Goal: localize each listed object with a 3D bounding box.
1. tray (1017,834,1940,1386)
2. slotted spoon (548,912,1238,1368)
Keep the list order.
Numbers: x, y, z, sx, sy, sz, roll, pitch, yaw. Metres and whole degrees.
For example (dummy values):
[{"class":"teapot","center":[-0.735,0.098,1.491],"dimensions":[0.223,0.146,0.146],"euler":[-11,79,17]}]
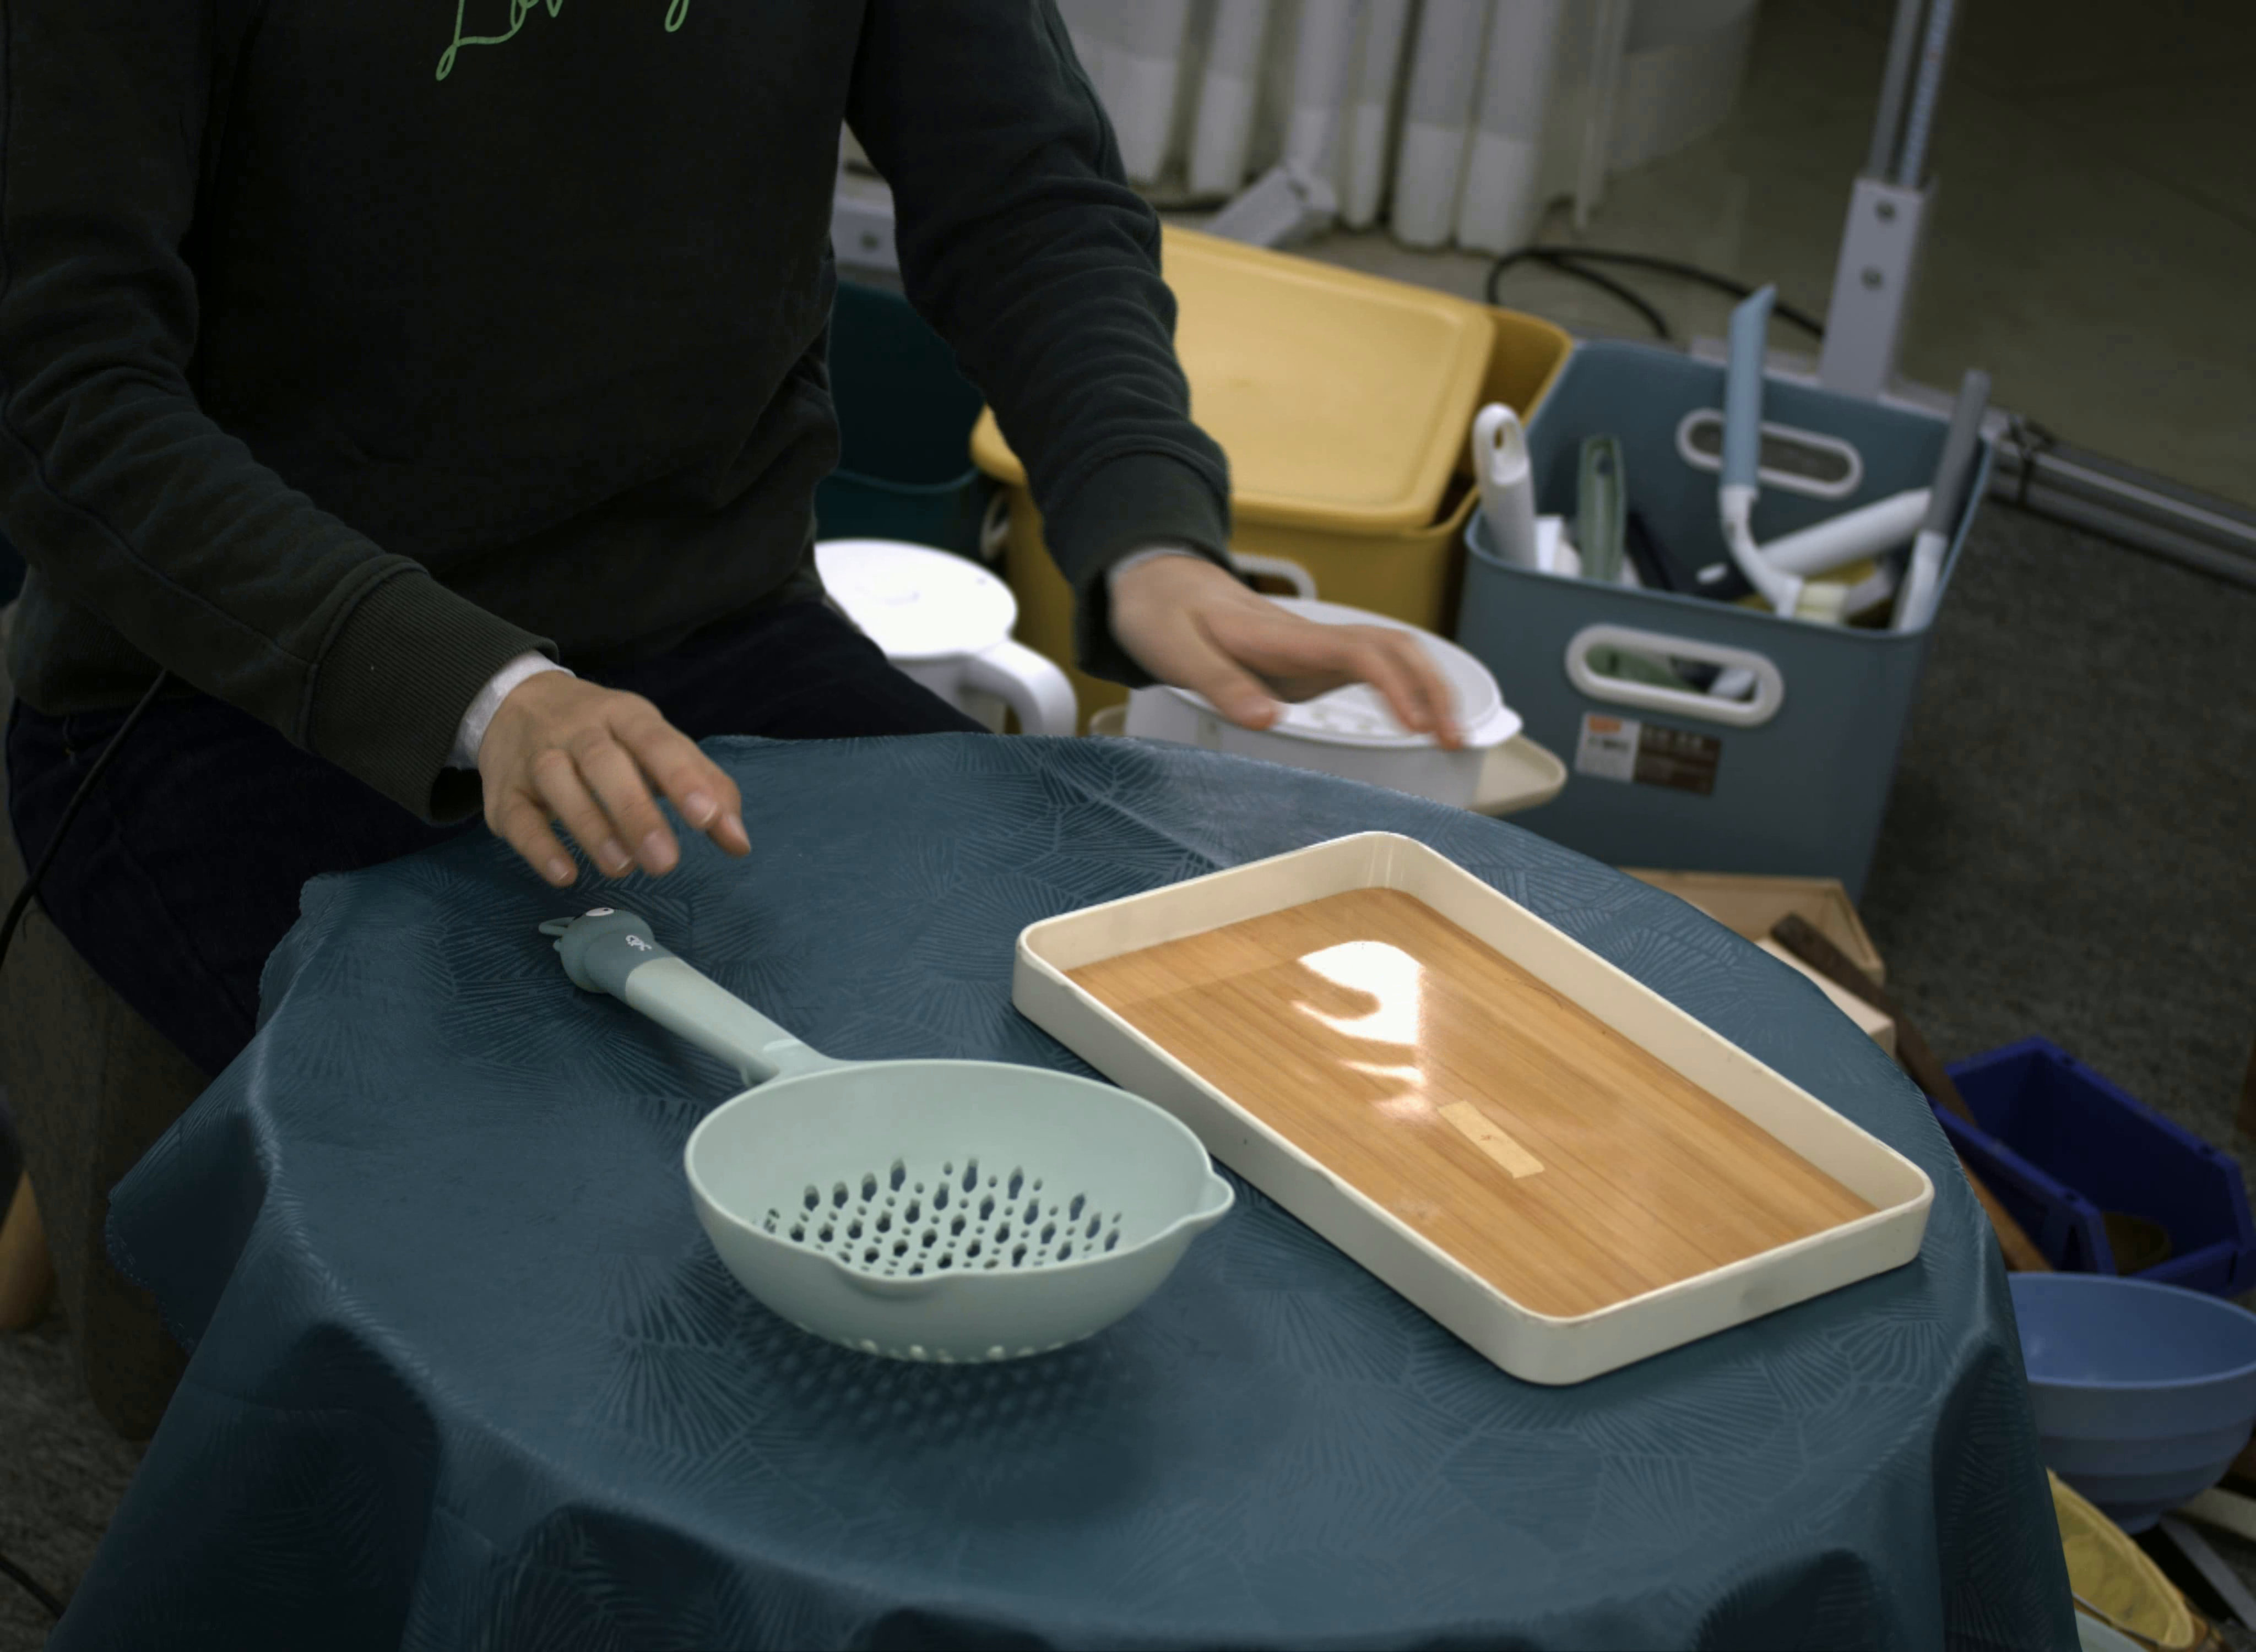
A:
[{"class":"tray","center":[0.118,0.093,1.859],"dimensions":[0.190,0.027,0.303],"euler":[-14,34,-35]},{"class":"slotted spoon","center":[-0.109,0.089,1.774],"dimensions":[0.168,0.075,0.362],"euler":[-9,30,-31]}]
